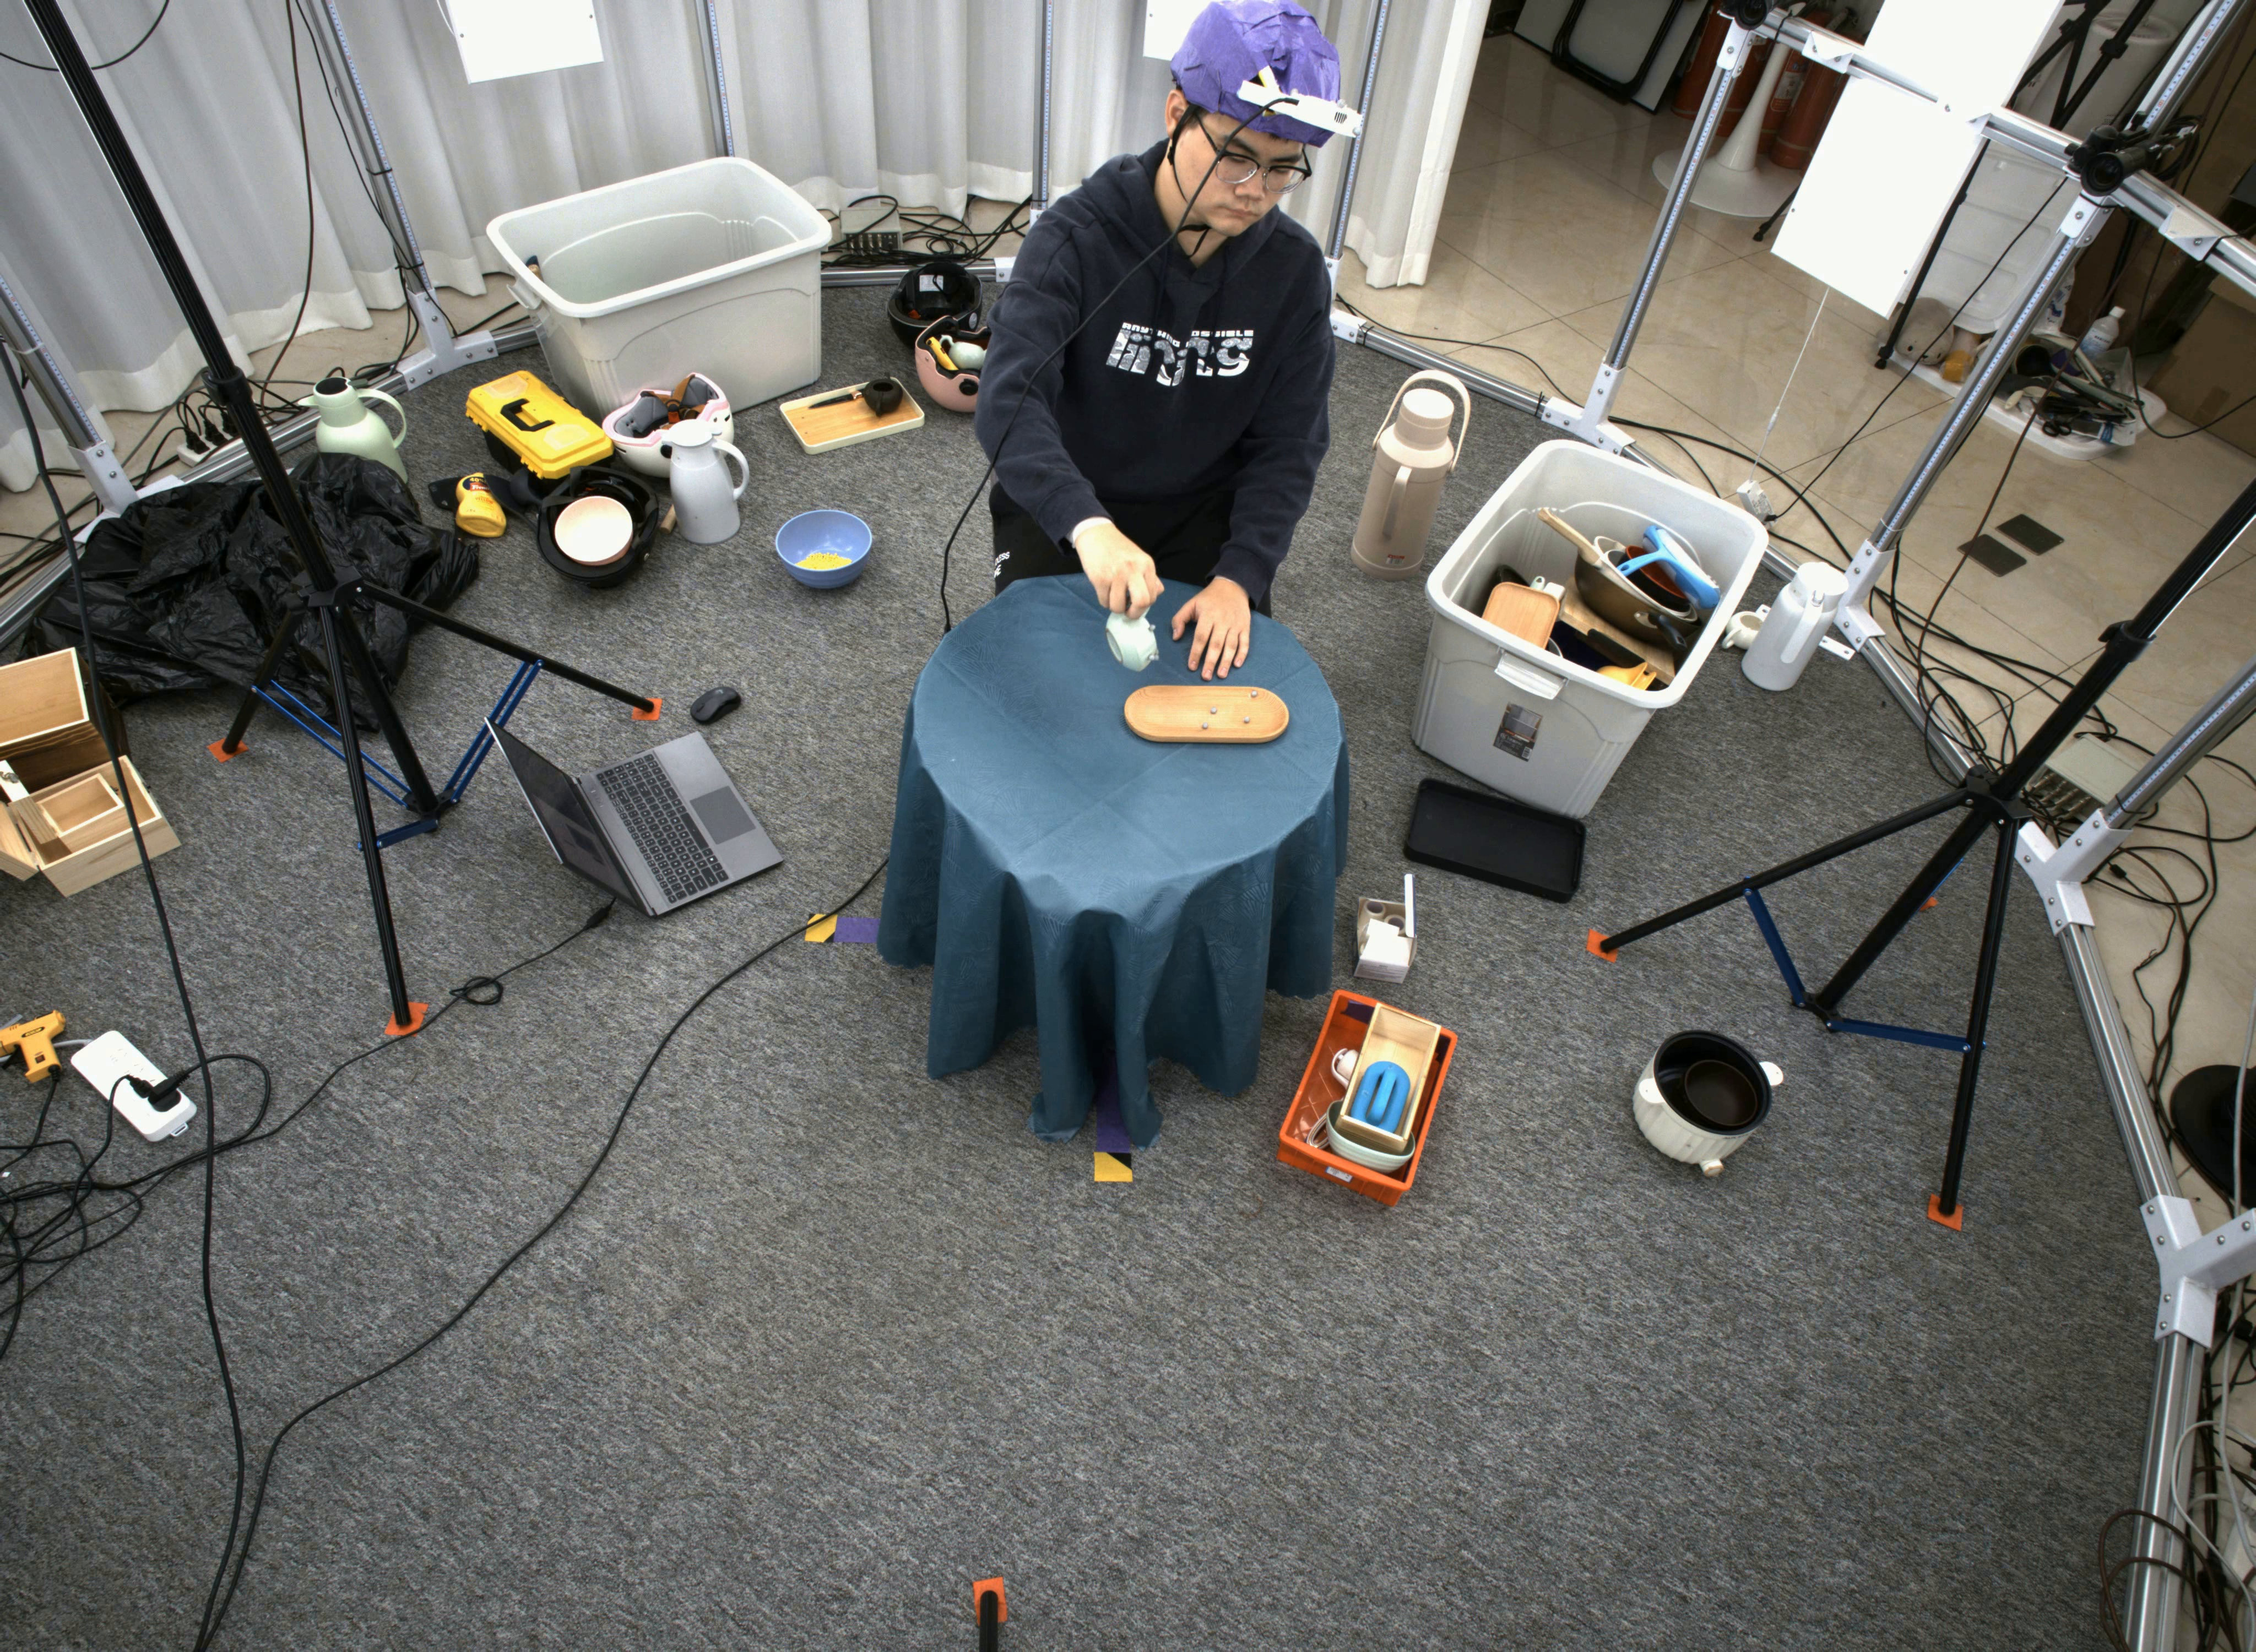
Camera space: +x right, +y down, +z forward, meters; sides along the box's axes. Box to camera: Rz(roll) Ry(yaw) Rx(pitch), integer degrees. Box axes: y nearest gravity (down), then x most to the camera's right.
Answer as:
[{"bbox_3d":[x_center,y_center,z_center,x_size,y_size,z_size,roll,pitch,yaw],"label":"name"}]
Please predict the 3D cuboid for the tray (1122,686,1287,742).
[{"bbox_3d":[0.107,-0.157,1.800,0.231,0.020,0.104,-2,47,-3],"label":"tray"}]

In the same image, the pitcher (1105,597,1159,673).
[{"bbox_3d":[0.004,-0.250,1.664,0.060,0.105,0.088,-26,51,-8],"label":"pitcher"}]
